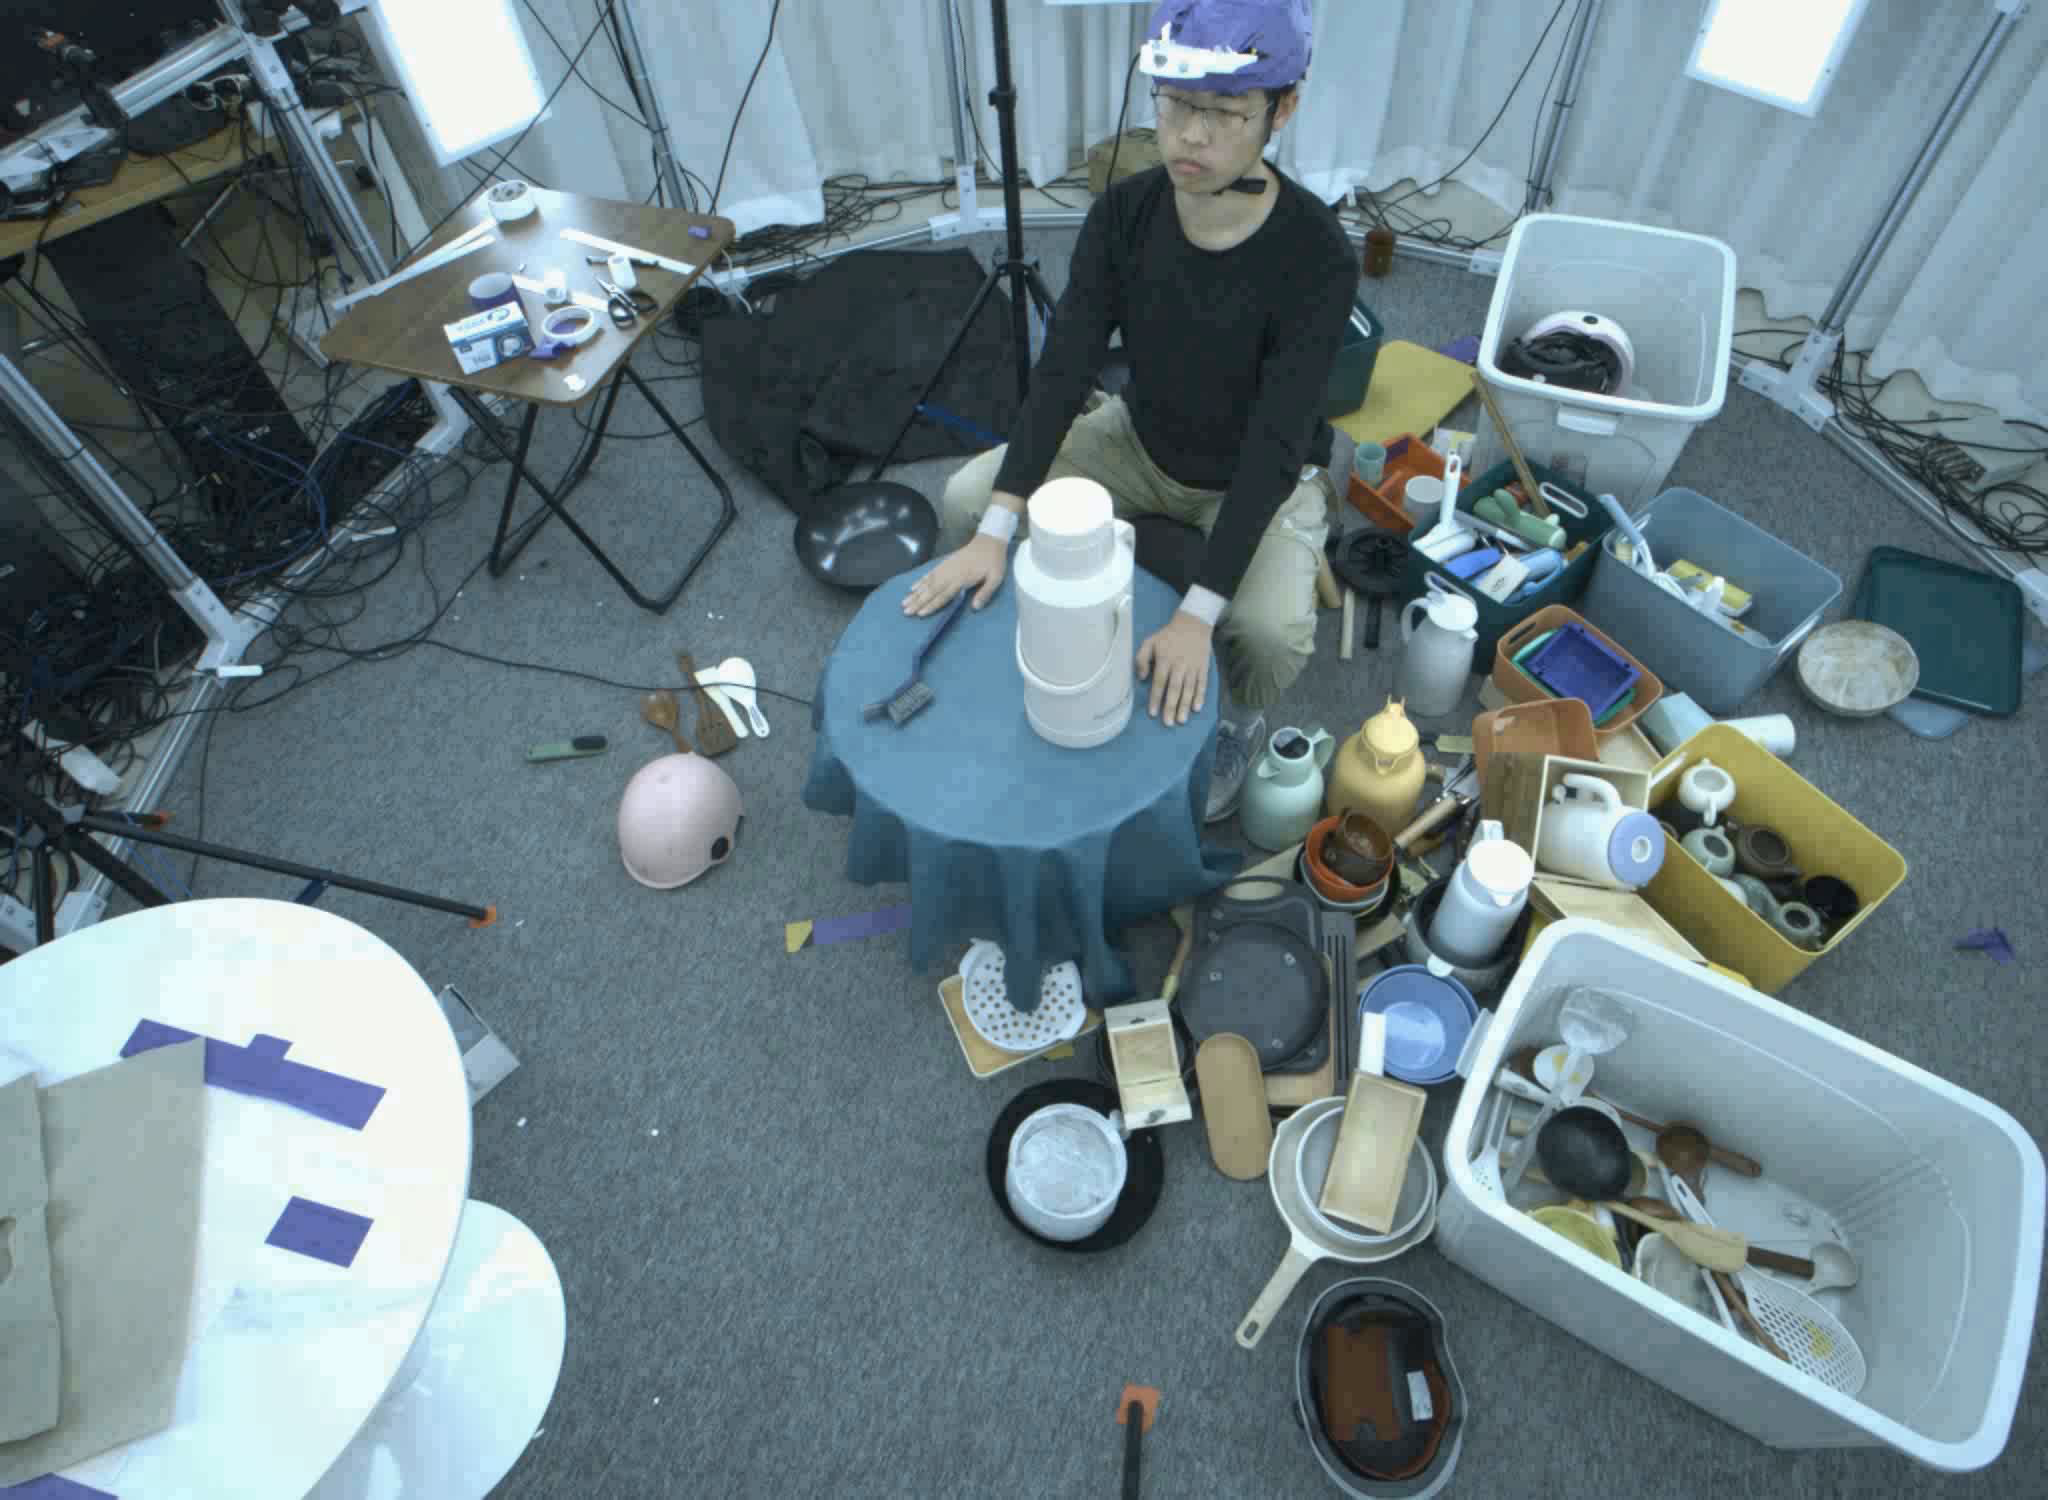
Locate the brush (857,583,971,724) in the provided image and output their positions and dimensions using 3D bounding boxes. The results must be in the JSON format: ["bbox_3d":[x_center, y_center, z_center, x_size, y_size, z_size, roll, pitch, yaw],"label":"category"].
[{"bbox_3d":[-0.161,-0.154,1.881,0.095,0.034,0.273,16,59,12],"label":"brush"}]

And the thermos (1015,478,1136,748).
[{"bbox_3d":[0.082,-0.191,1.675,0.172,0.411,0.208,31,63,25],"label":"thermos"}]
